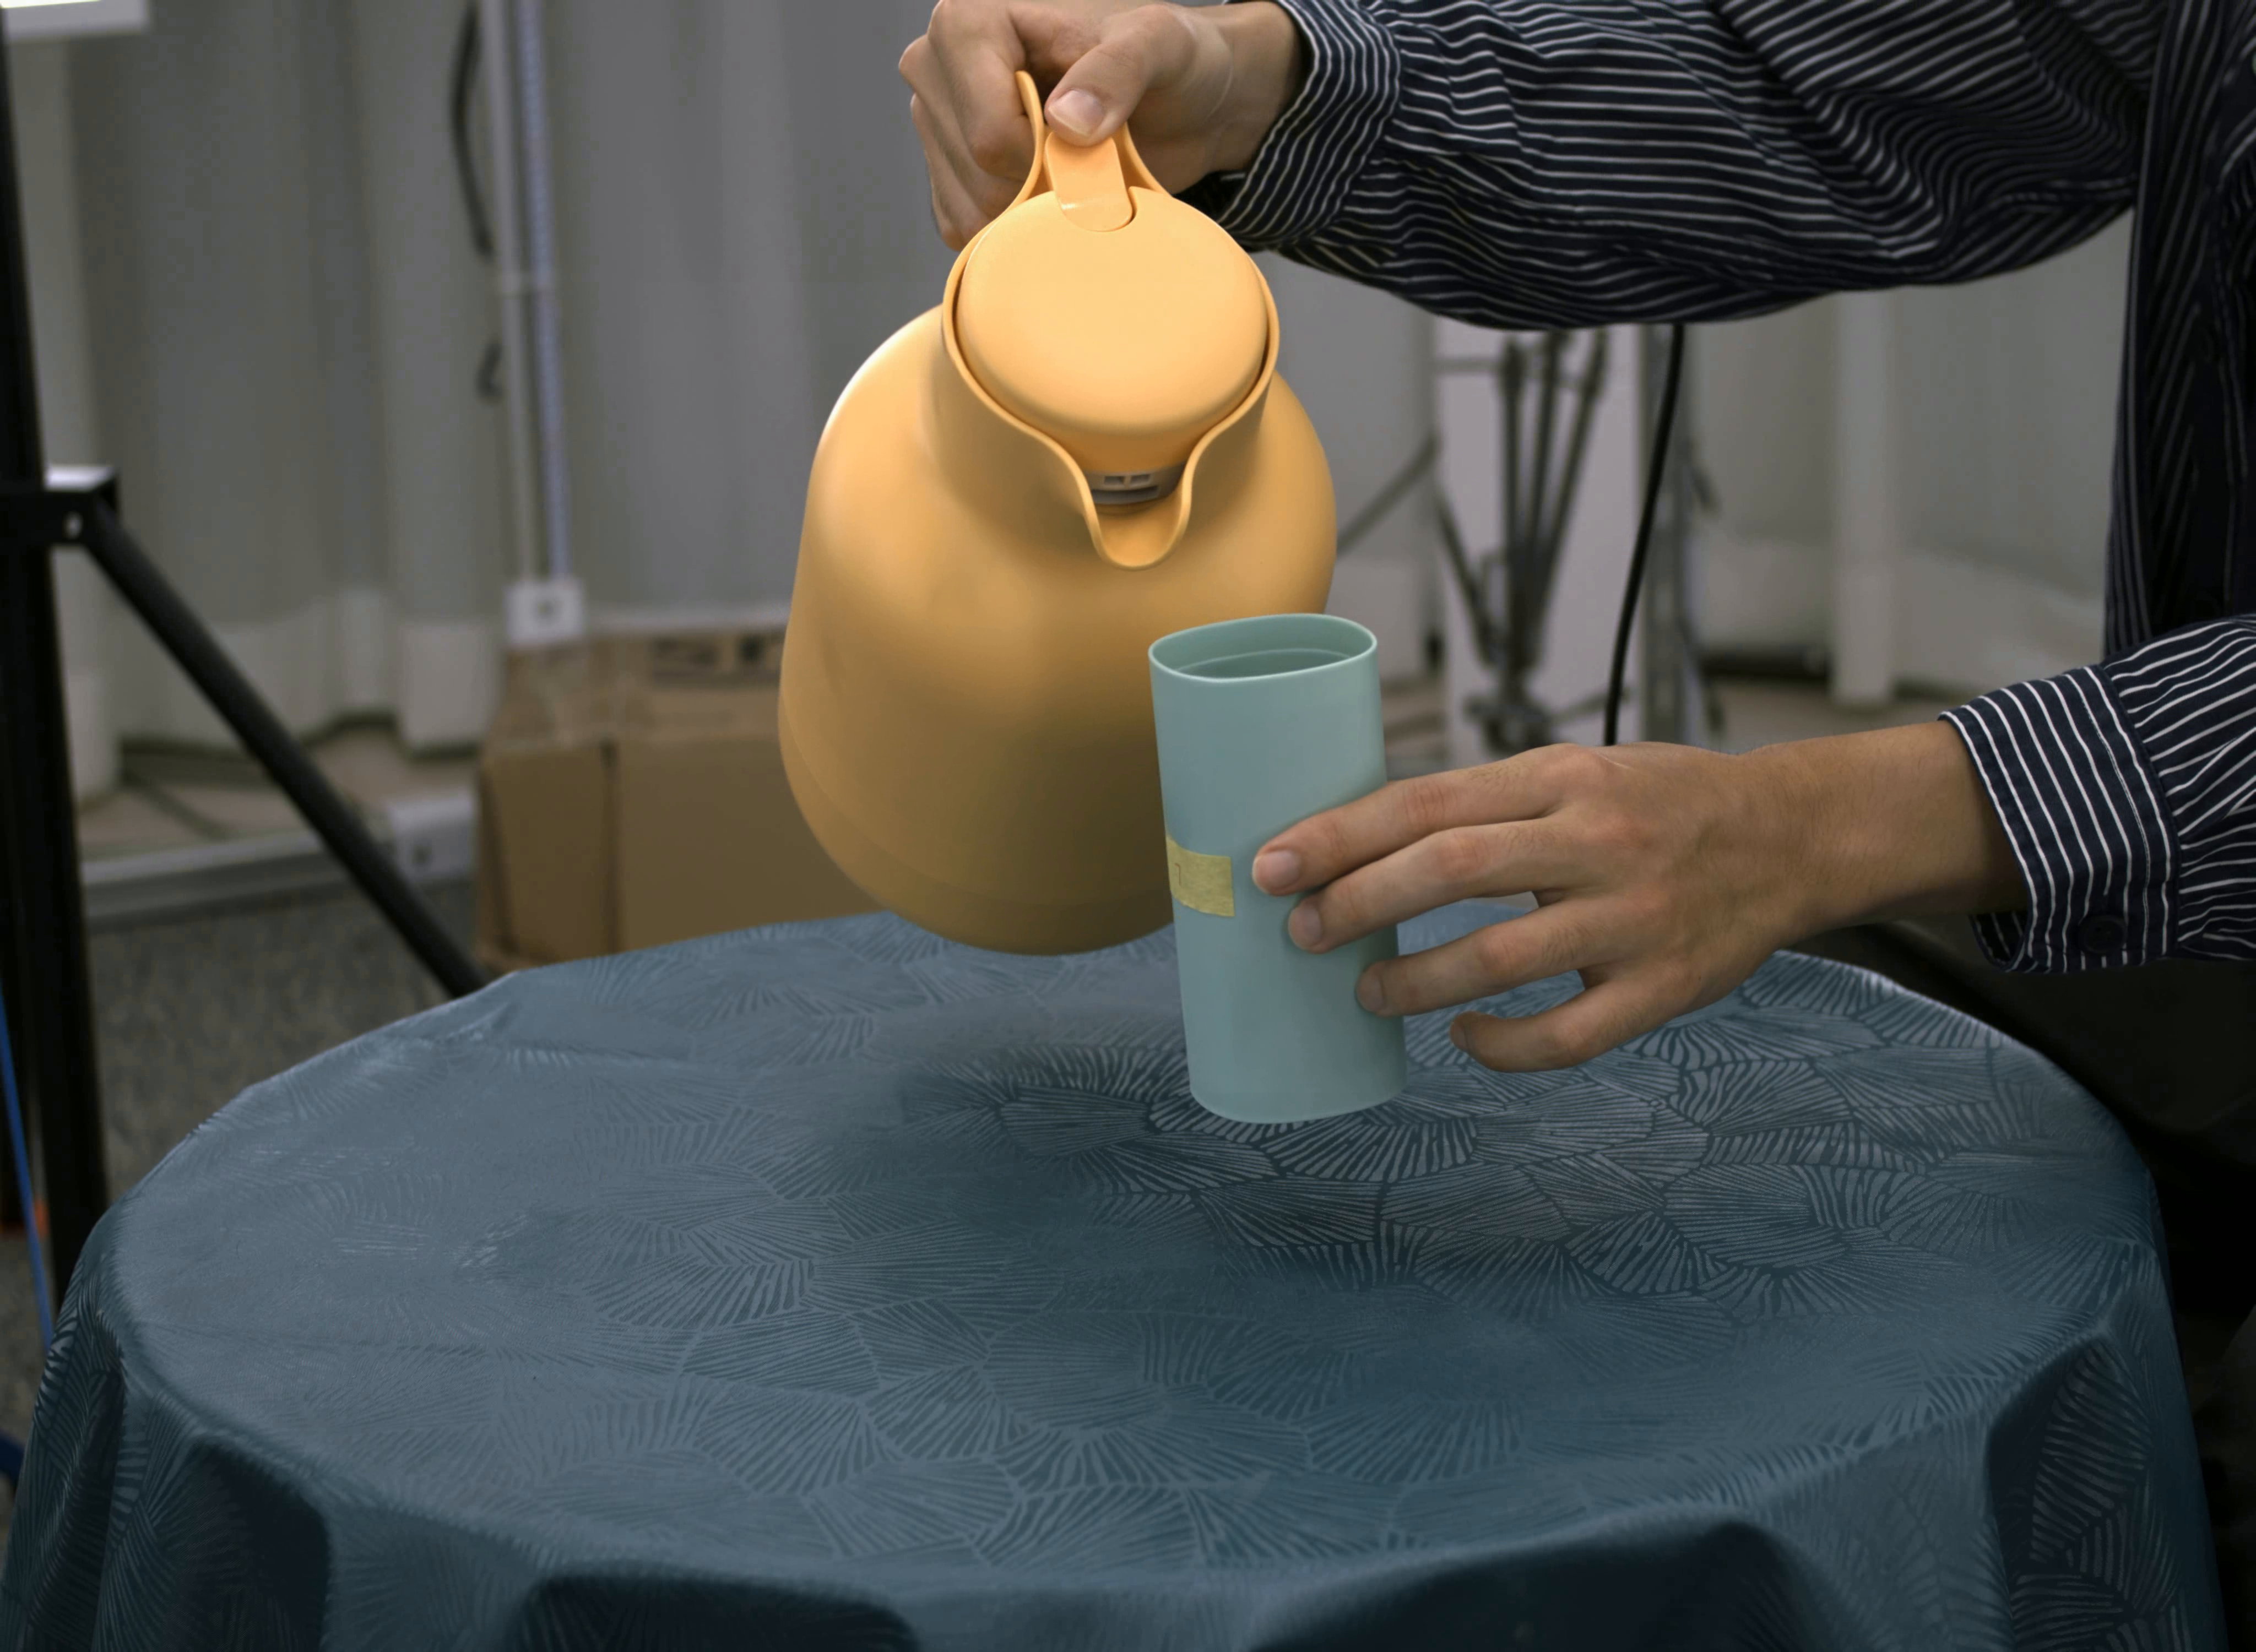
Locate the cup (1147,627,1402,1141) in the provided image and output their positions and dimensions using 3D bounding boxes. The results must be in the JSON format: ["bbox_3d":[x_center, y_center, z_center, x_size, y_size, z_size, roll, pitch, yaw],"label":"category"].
[{"bbox_3d":[0.044,0.015,1.494,0.066,0.132,0.067,-5,16,0],"label":"cup"}]

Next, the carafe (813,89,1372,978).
[{"bbox_3d":[-0.009,-0.093,1.617,0.161,0.260,0.205,-3,59,-11],"label":"carafe"}]
